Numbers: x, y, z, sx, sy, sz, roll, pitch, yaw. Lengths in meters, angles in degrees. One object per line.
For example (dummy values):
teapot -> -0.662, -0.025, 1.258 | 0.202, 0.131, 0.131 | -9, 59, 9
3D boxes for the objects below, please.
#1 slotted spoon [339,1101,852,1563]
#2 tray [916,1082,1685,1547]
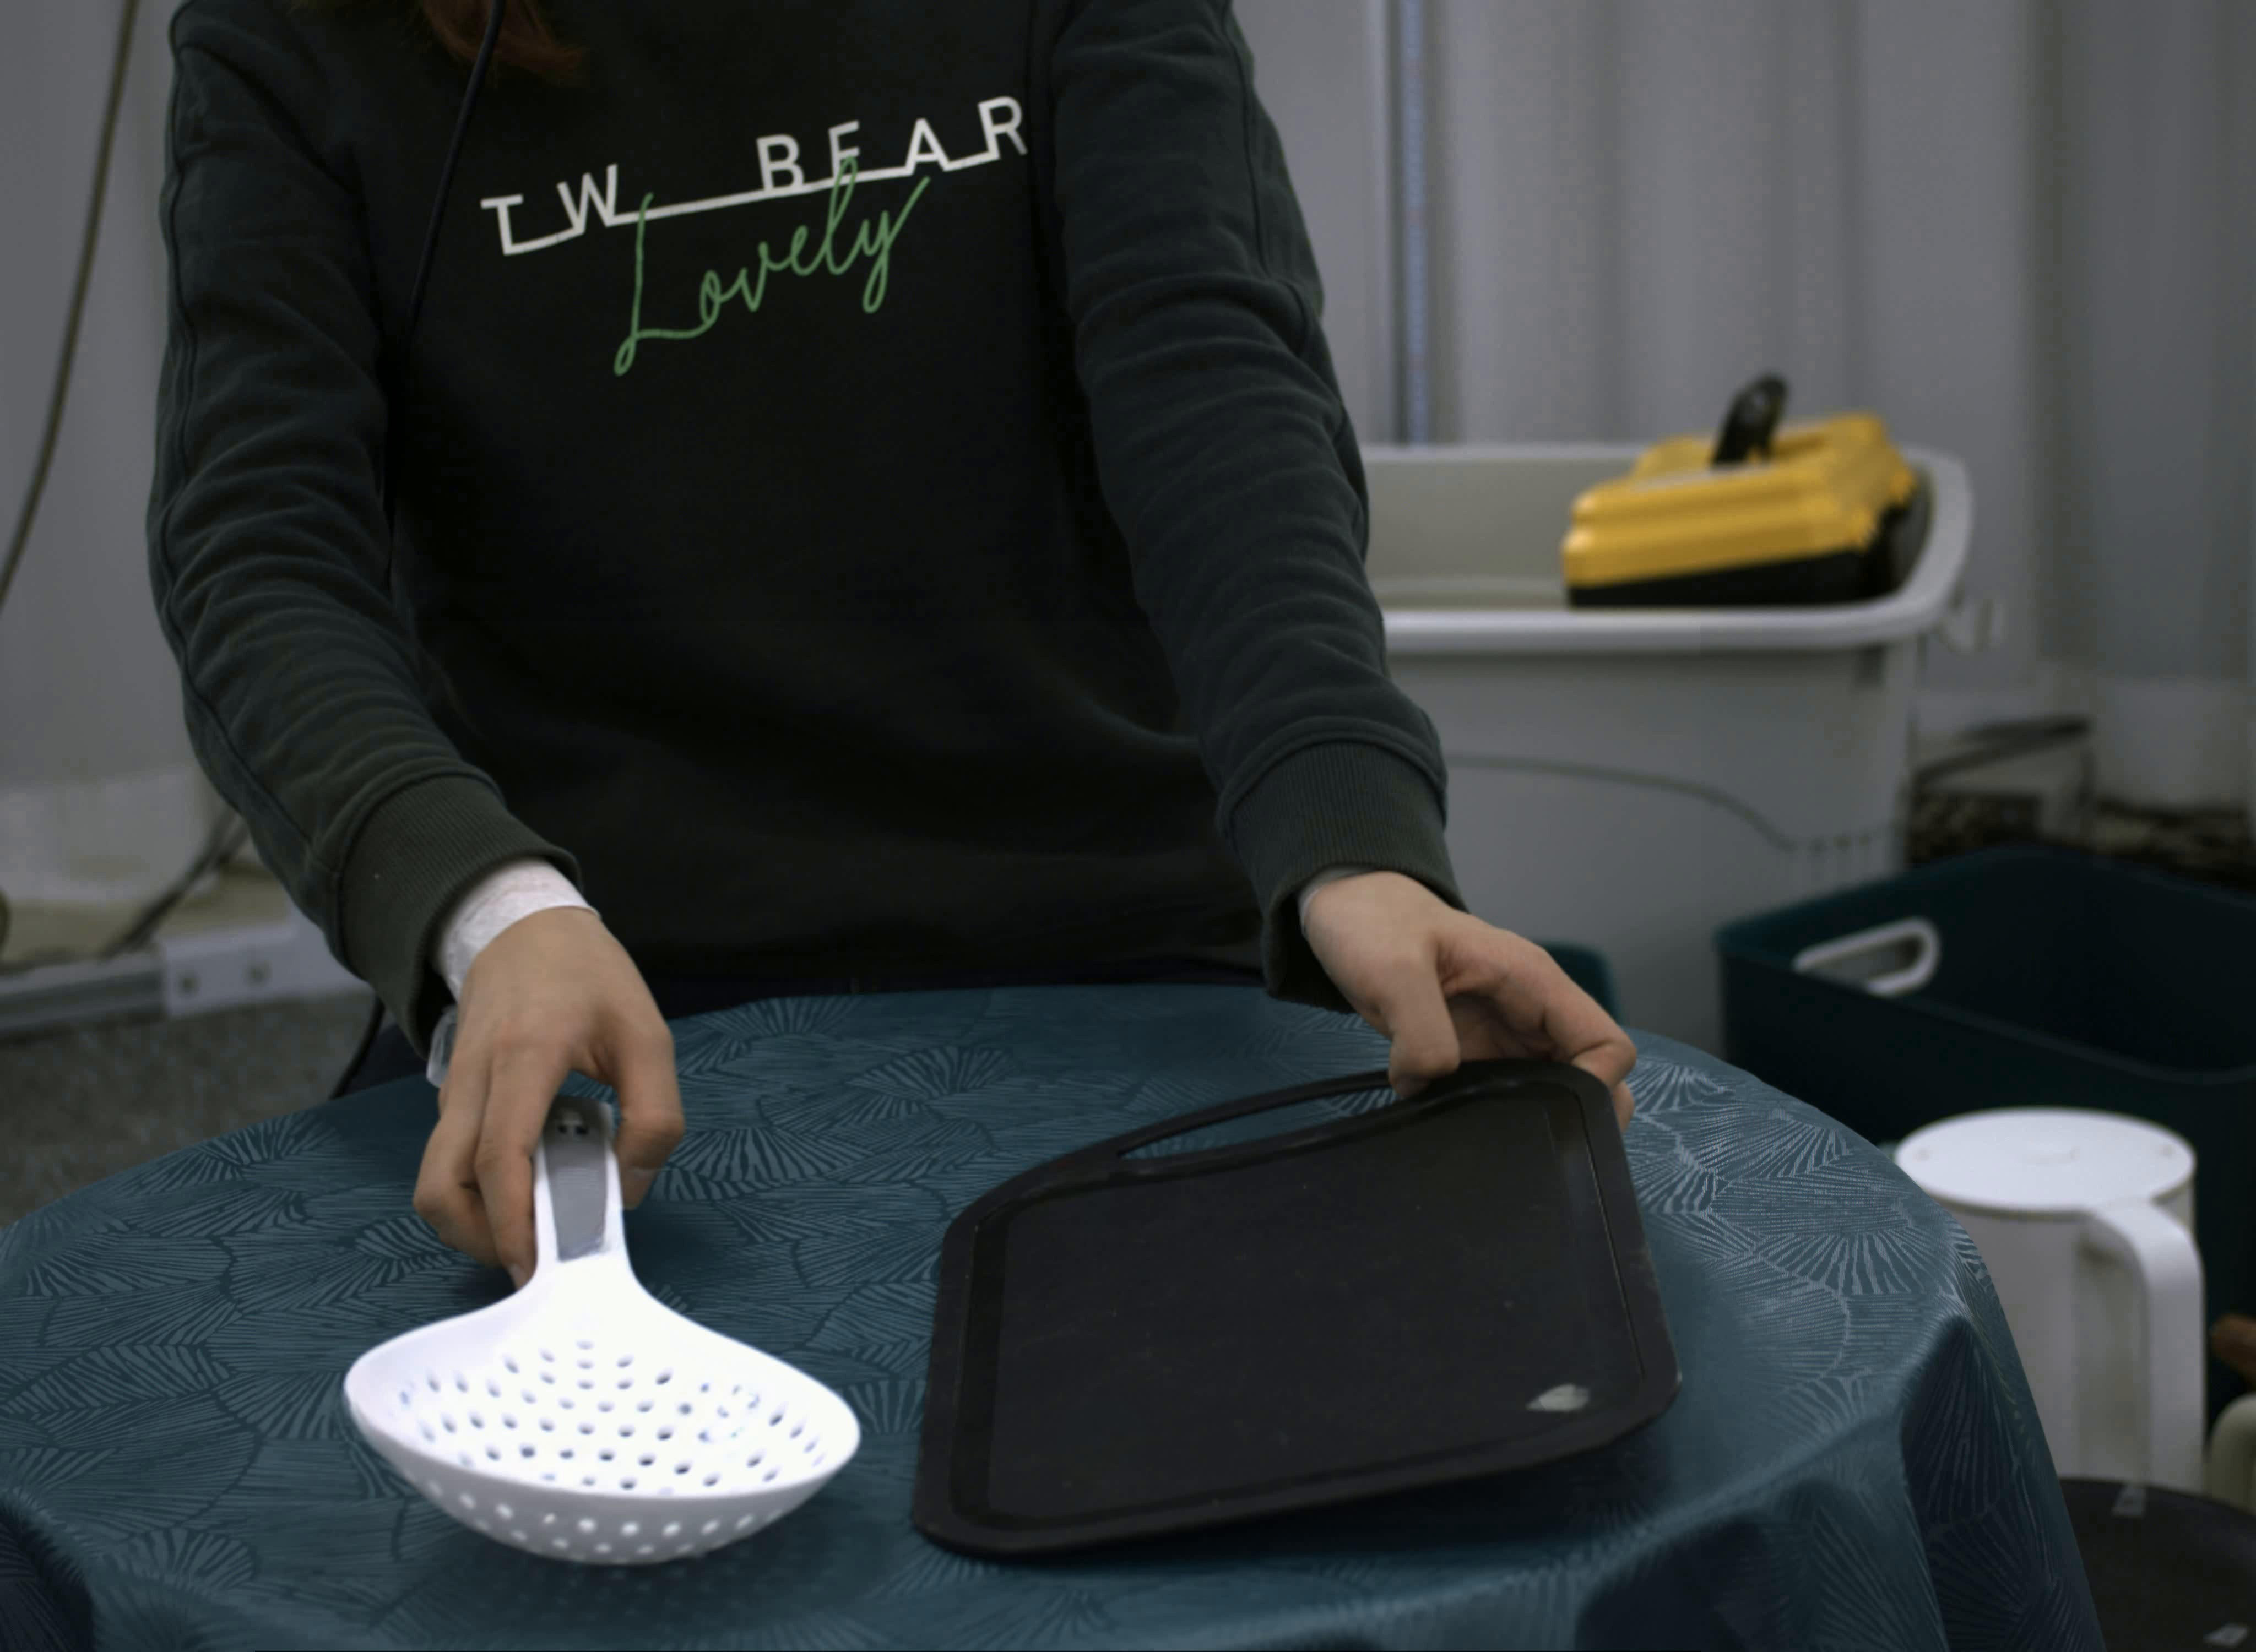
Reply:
slotted spoon -> -0.153, 0.134, 1.549 | 0.135, 0.045, 0.353 | 6, 17, -8
tray -> 0.046, 0.132, 1.569 | 0.210, 0.010, 0.327 | -10, 15, 3
